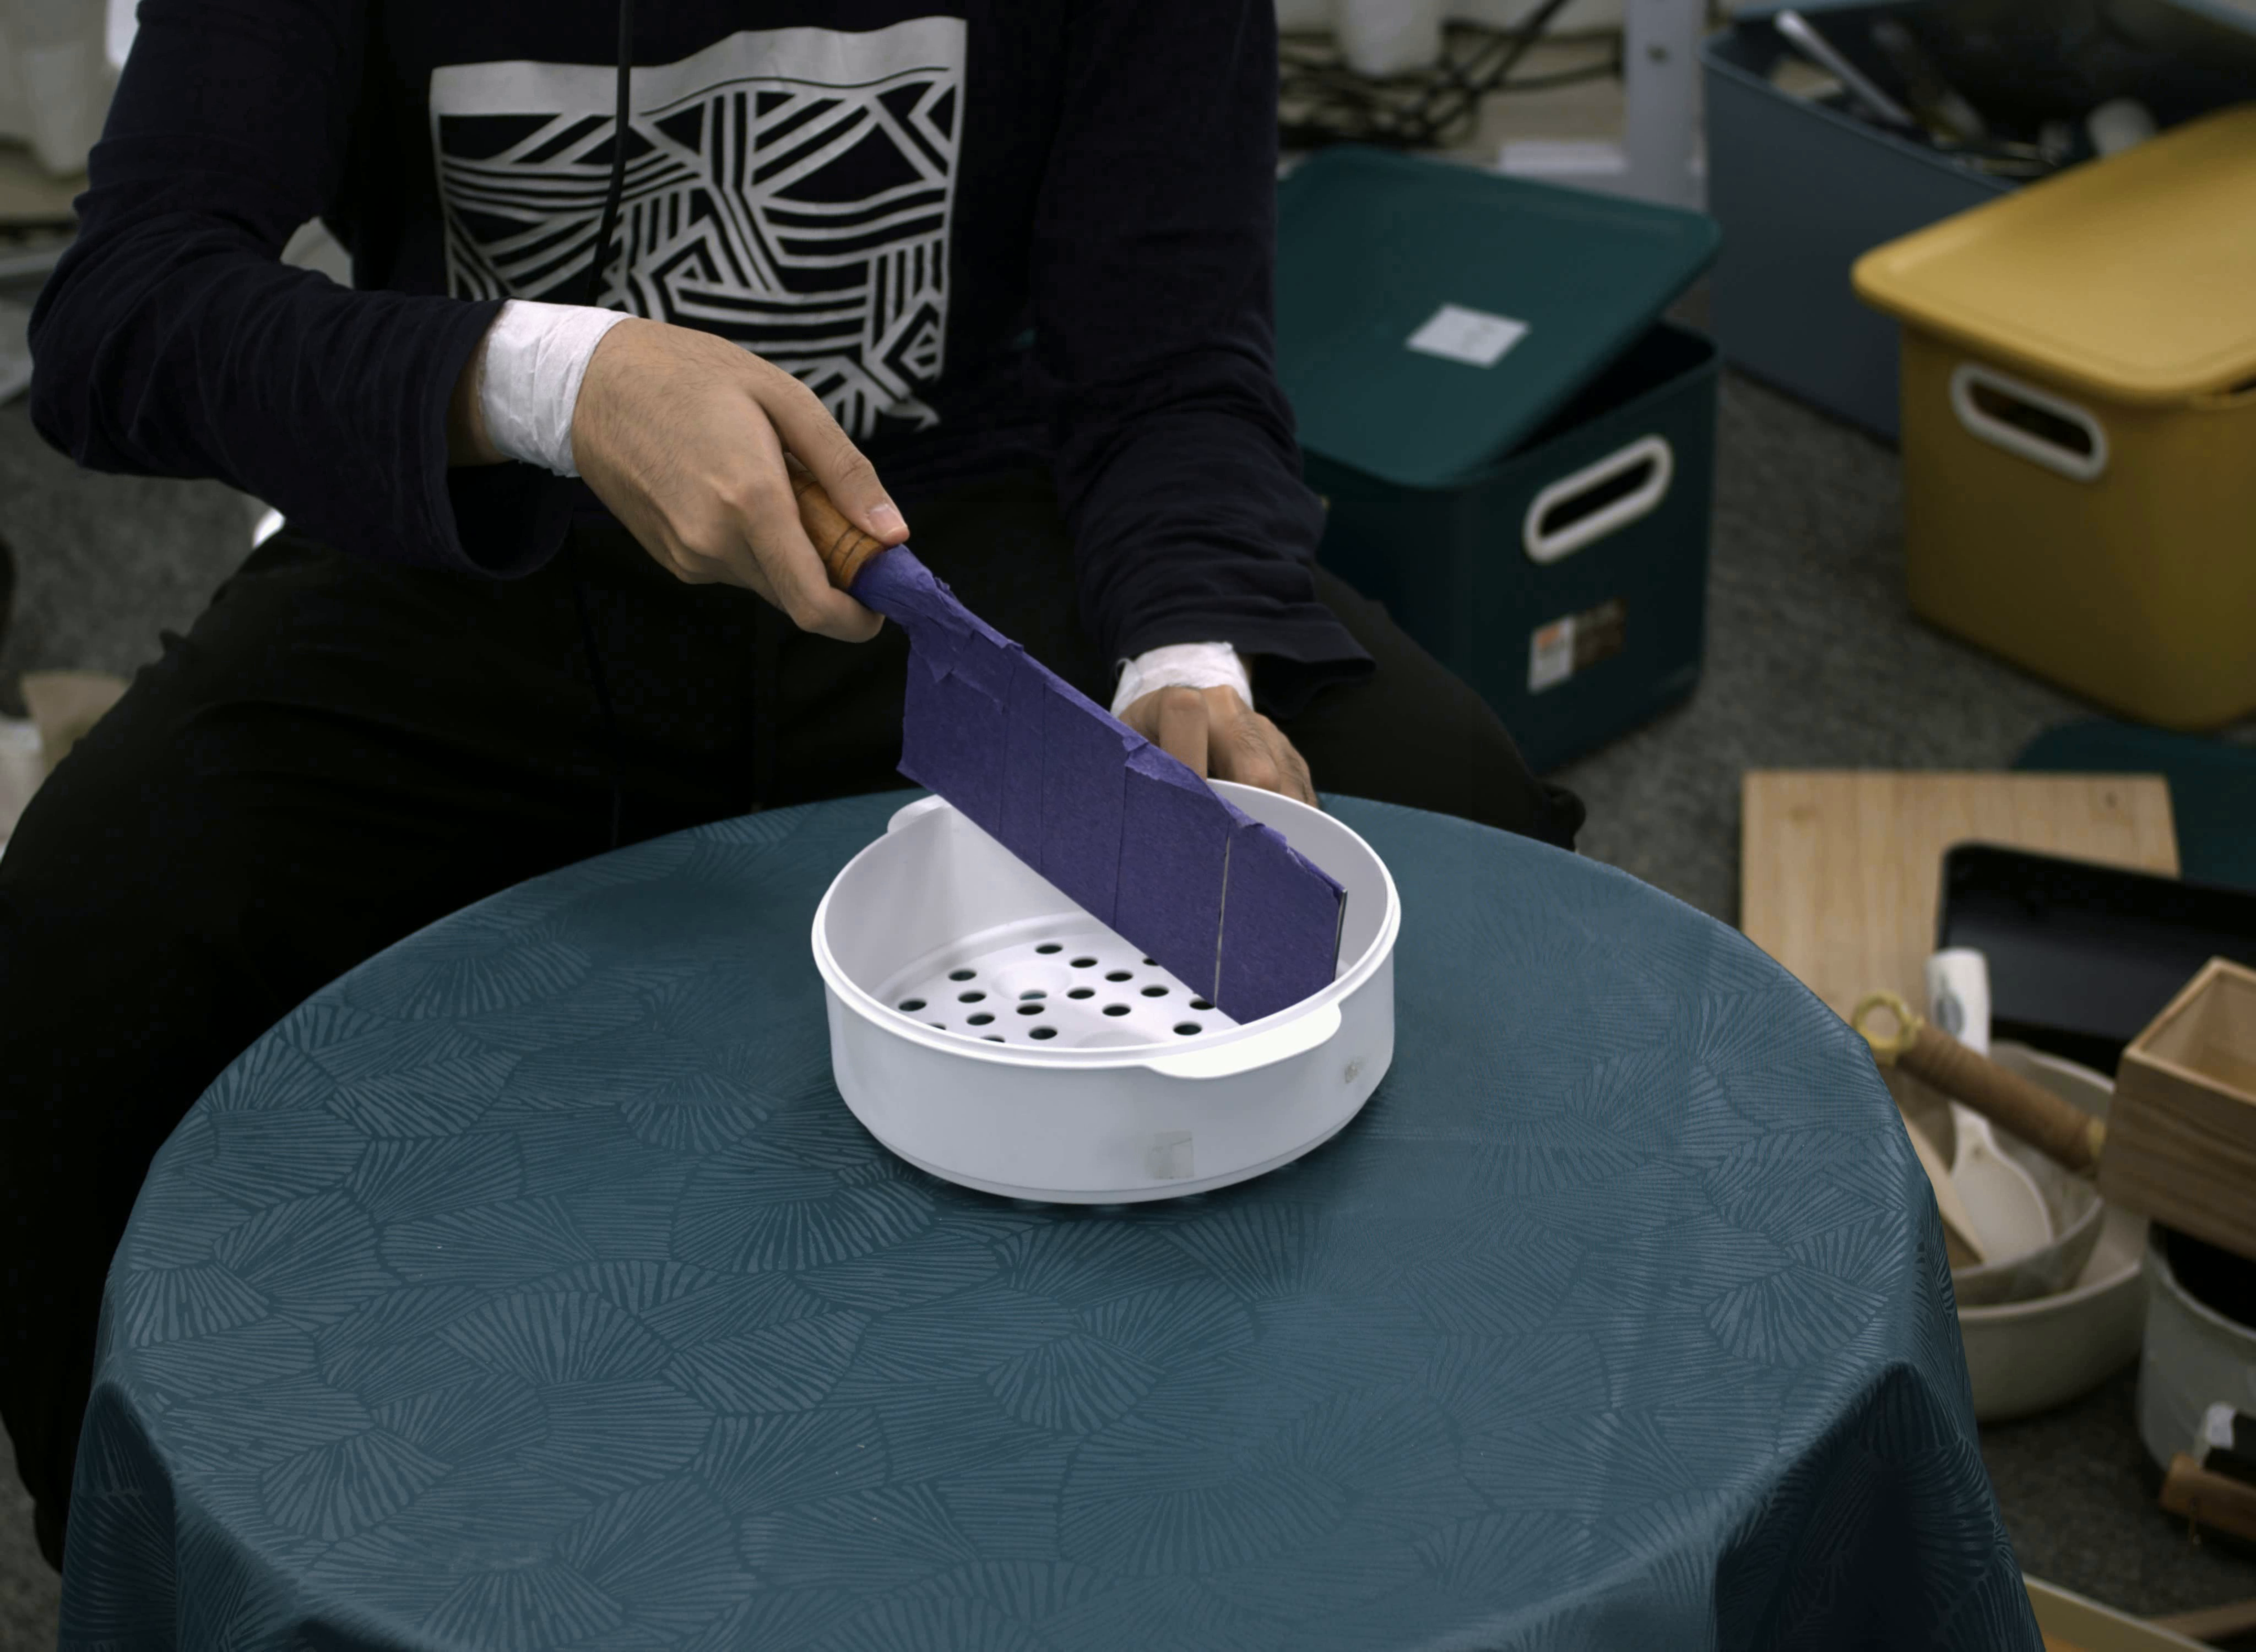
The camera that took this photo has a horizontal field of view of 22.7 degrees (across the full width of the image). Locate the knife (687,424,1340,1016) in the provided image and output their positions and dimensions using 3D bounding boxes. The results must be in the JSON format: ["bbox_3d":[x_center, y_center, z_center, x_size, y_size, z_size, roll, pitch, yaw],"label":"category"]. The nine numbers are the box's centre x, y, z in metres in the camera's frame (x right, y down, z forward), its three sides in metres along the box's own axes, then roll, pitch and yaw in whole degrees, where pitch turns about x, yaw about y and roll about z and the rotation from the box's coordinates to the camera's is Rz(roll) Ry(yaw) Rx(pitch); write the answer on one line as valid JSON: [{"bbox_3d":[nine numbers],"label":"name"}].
[{"bbox_3d":[-0.043,-0.027,1.923,0.032,0.102,0.316,-26,49,-34],"label":"knife"}]

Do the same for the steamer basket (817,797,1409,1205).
[{"bbox_3d":[-0.004,0.059,1.912,0.203,0.068,0.231,-15,27,-25],"label":"steamer basket"}]
